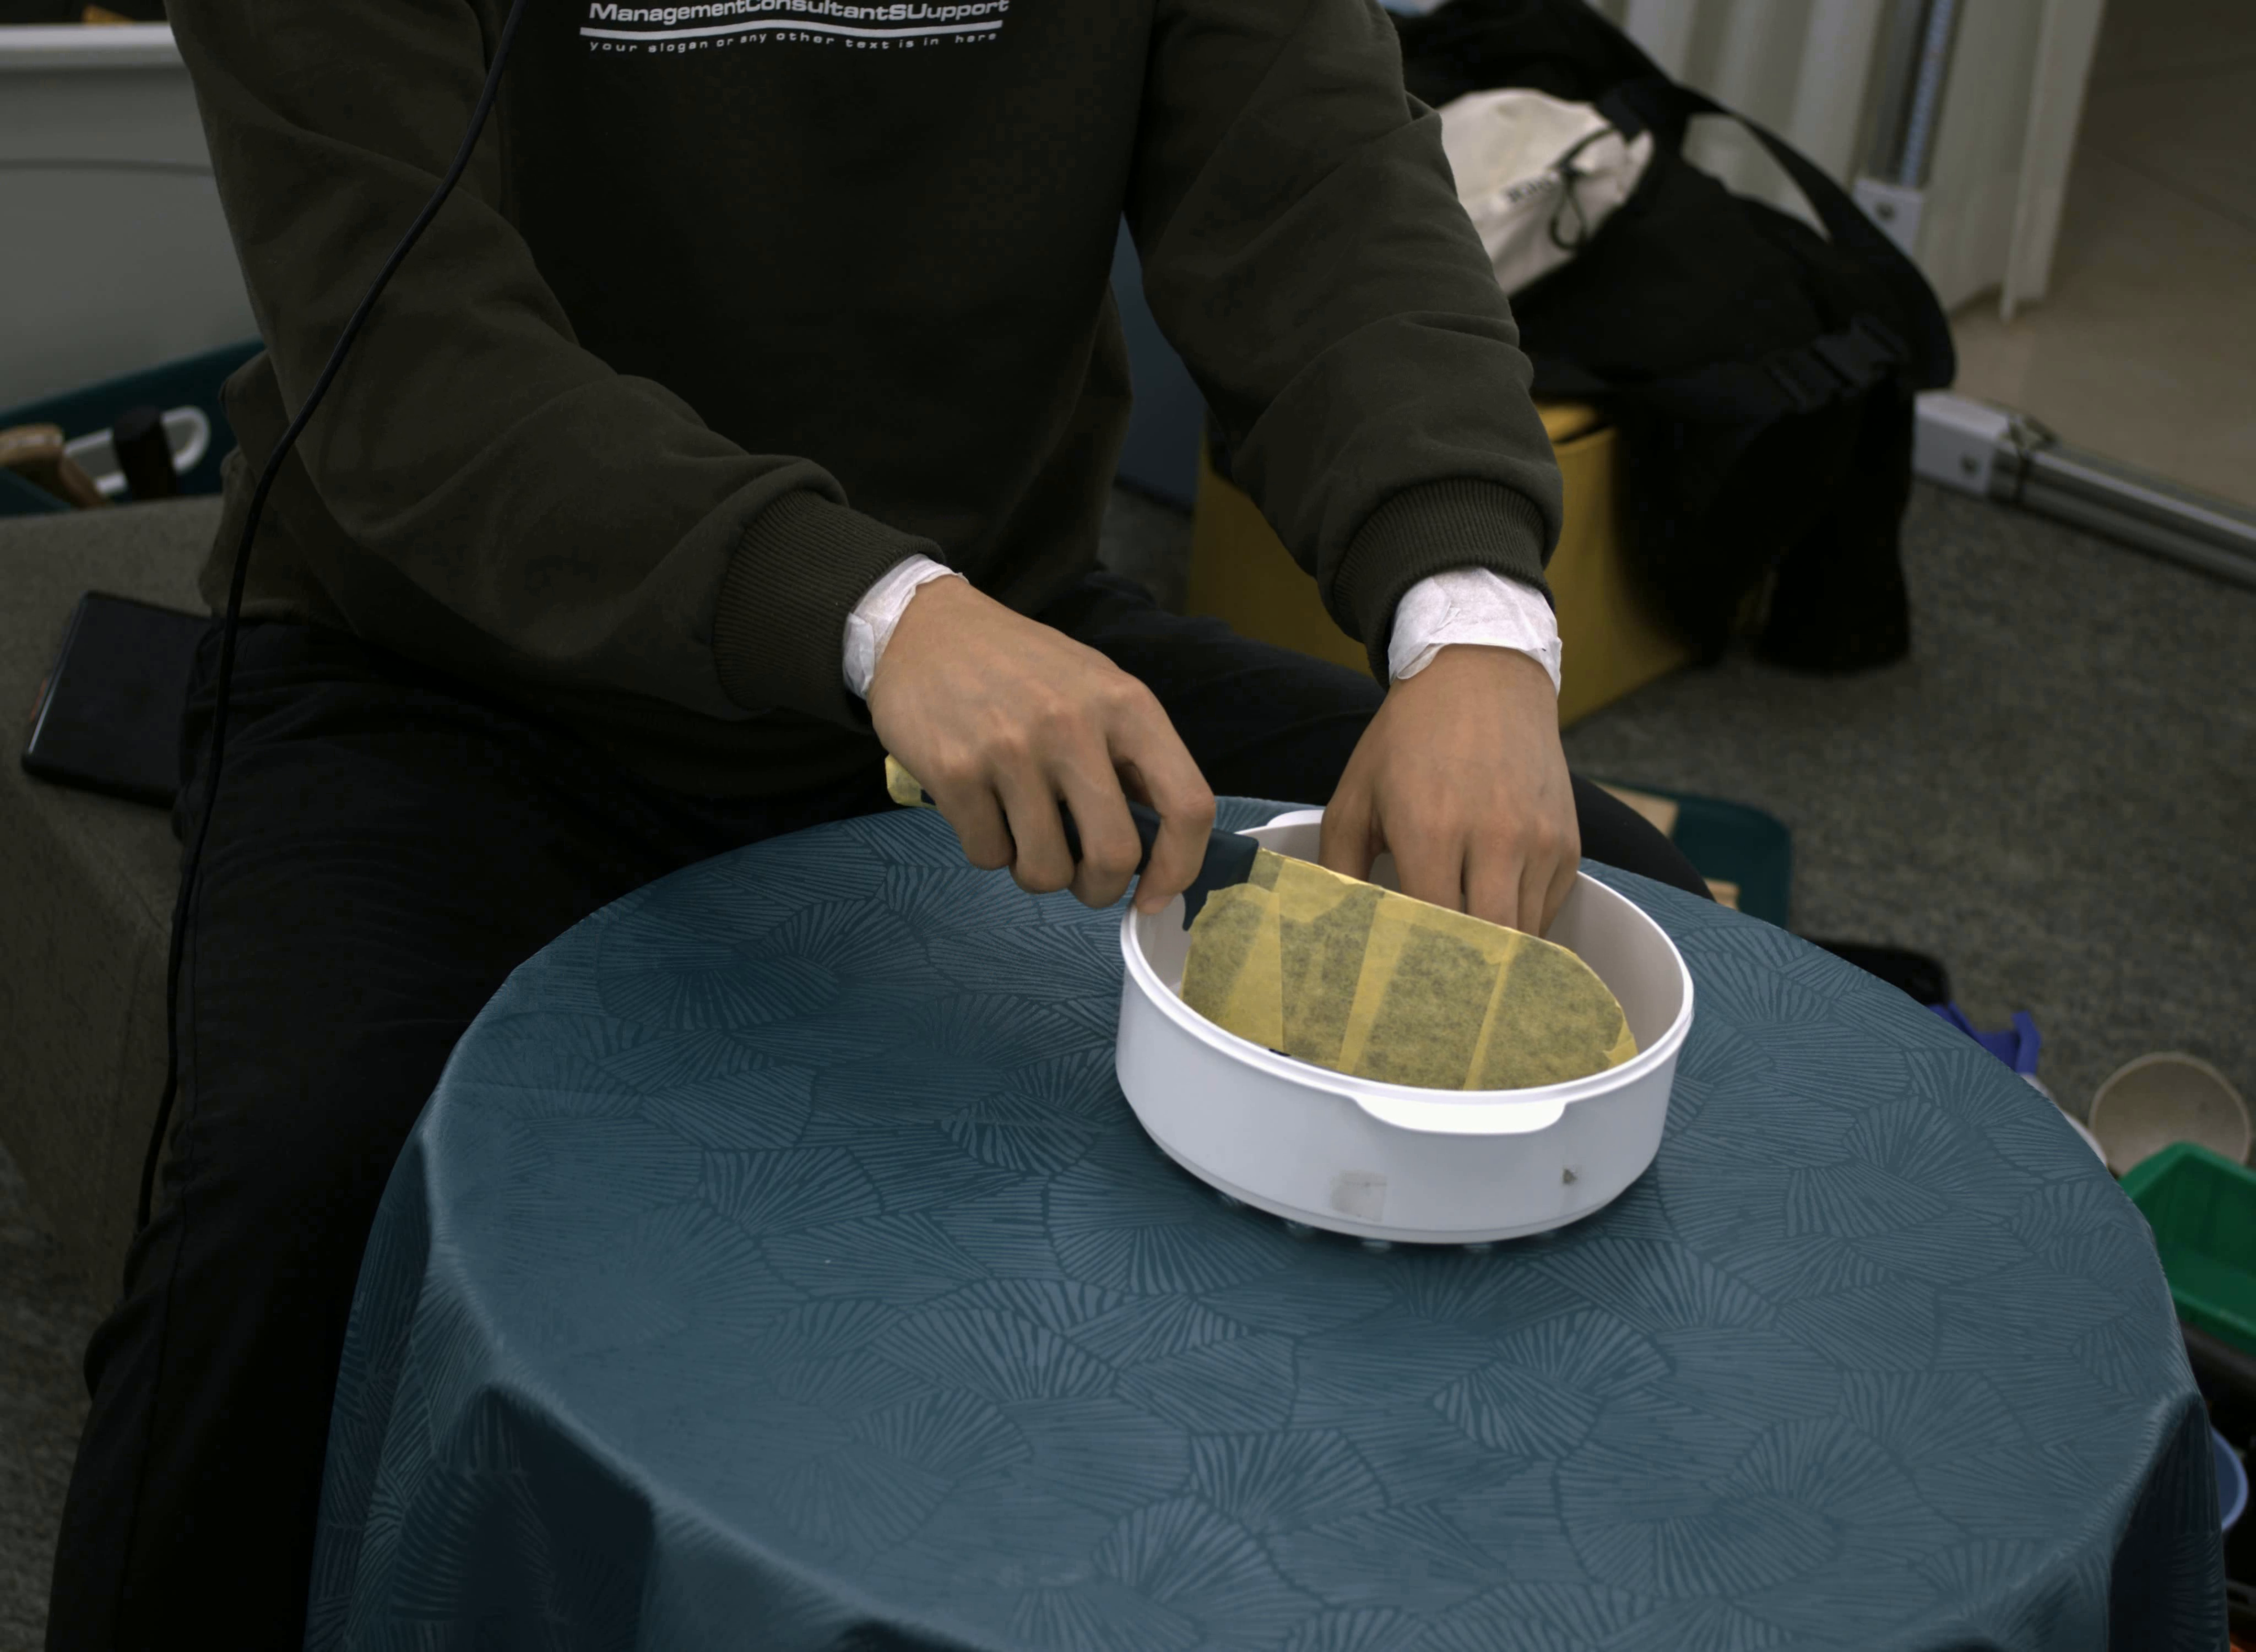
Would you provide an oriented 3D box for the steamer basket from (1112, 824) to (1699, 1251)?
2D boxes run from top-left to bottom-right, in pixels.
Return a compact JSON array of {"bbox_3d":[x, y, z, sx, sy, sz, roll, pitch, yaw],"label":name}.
[{"bbox_3d":[0.094,0.075,1.849,0.201,0.069,0.232,3,25,-9],"label":"steamer basket"}]

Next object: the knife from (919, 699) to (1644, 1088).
[{"bbox_3d":[0.052,0.031,1.857,0.290,0.081,0.027,26,22,13],"label":"knife"}]
